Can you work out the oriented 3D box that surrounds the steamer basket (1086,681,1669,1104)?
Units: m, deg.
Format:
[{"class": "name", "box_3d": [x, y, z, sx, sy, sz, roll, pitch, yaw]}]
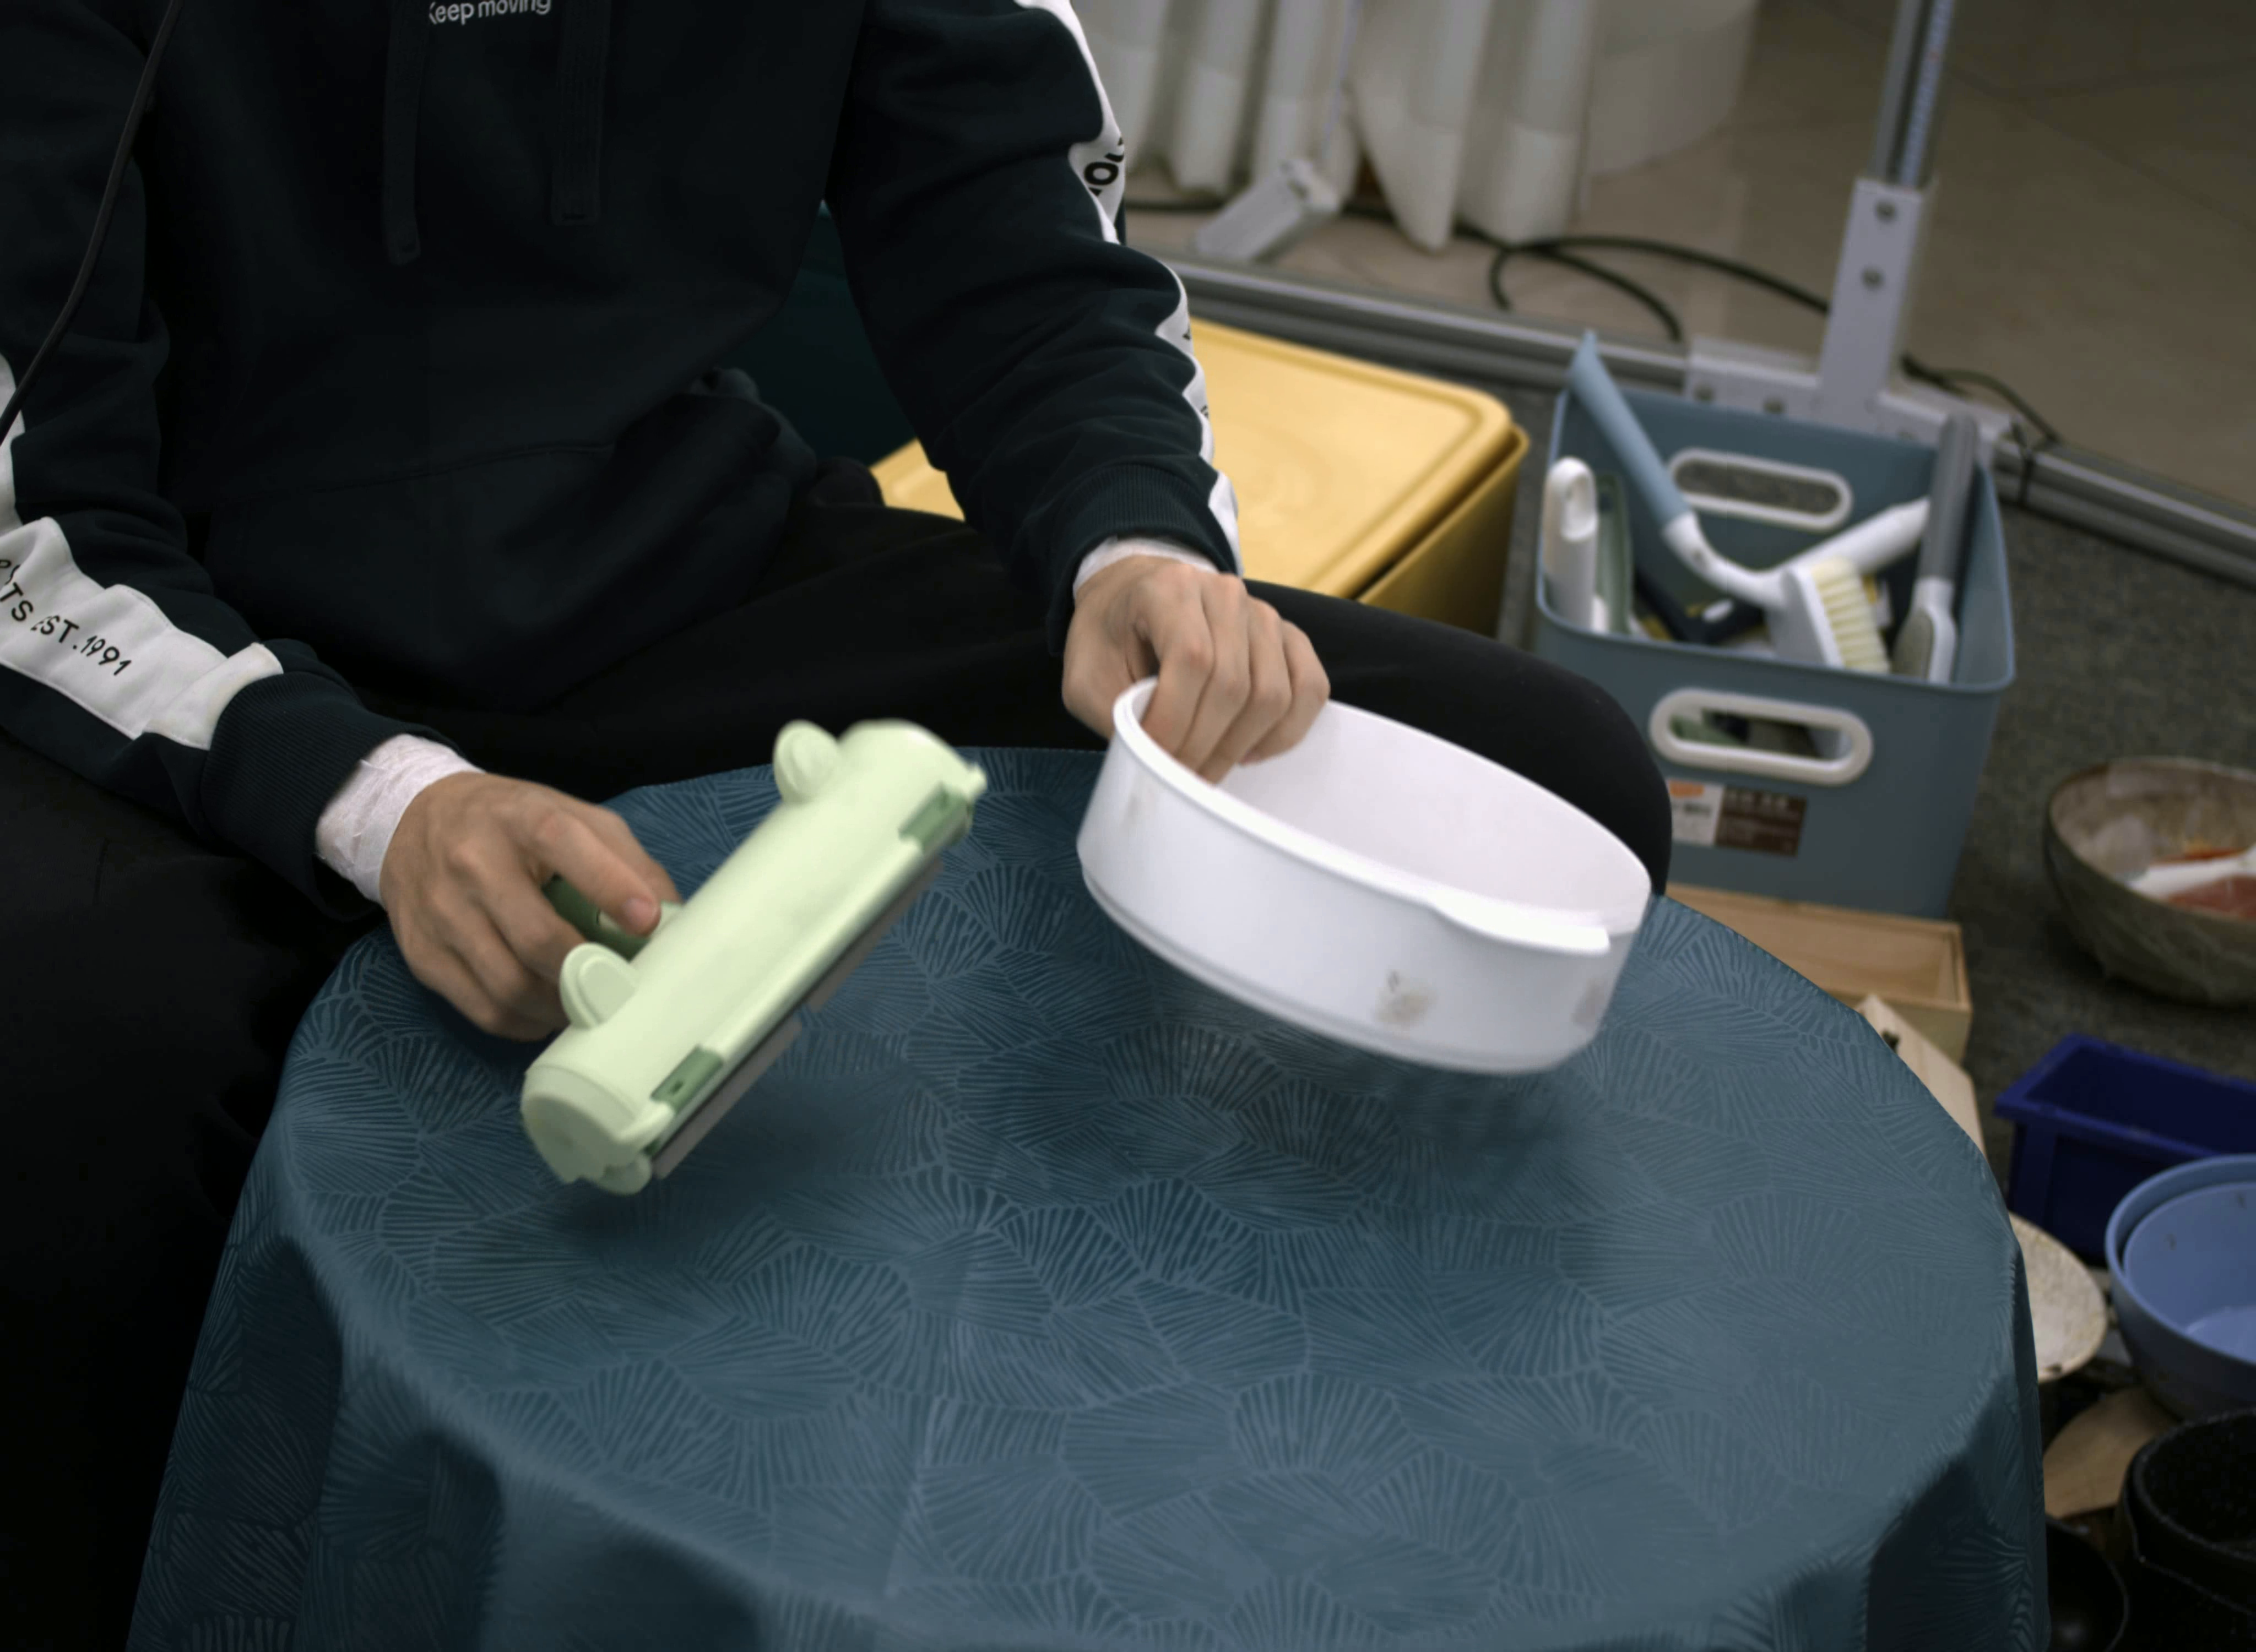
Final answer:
[{"class": "steamer basket", "box_3d": [0.084, 0.025, 1.850, 0.200, 0.069, 0.232, 8, 22, -32]}]

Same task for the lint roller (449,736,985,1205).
[{"class": "lint roller", "box_3d": [-0.171, 0.029, 1.795, 0.184, 0.081, 0.198, 15, 47, 36]}]
